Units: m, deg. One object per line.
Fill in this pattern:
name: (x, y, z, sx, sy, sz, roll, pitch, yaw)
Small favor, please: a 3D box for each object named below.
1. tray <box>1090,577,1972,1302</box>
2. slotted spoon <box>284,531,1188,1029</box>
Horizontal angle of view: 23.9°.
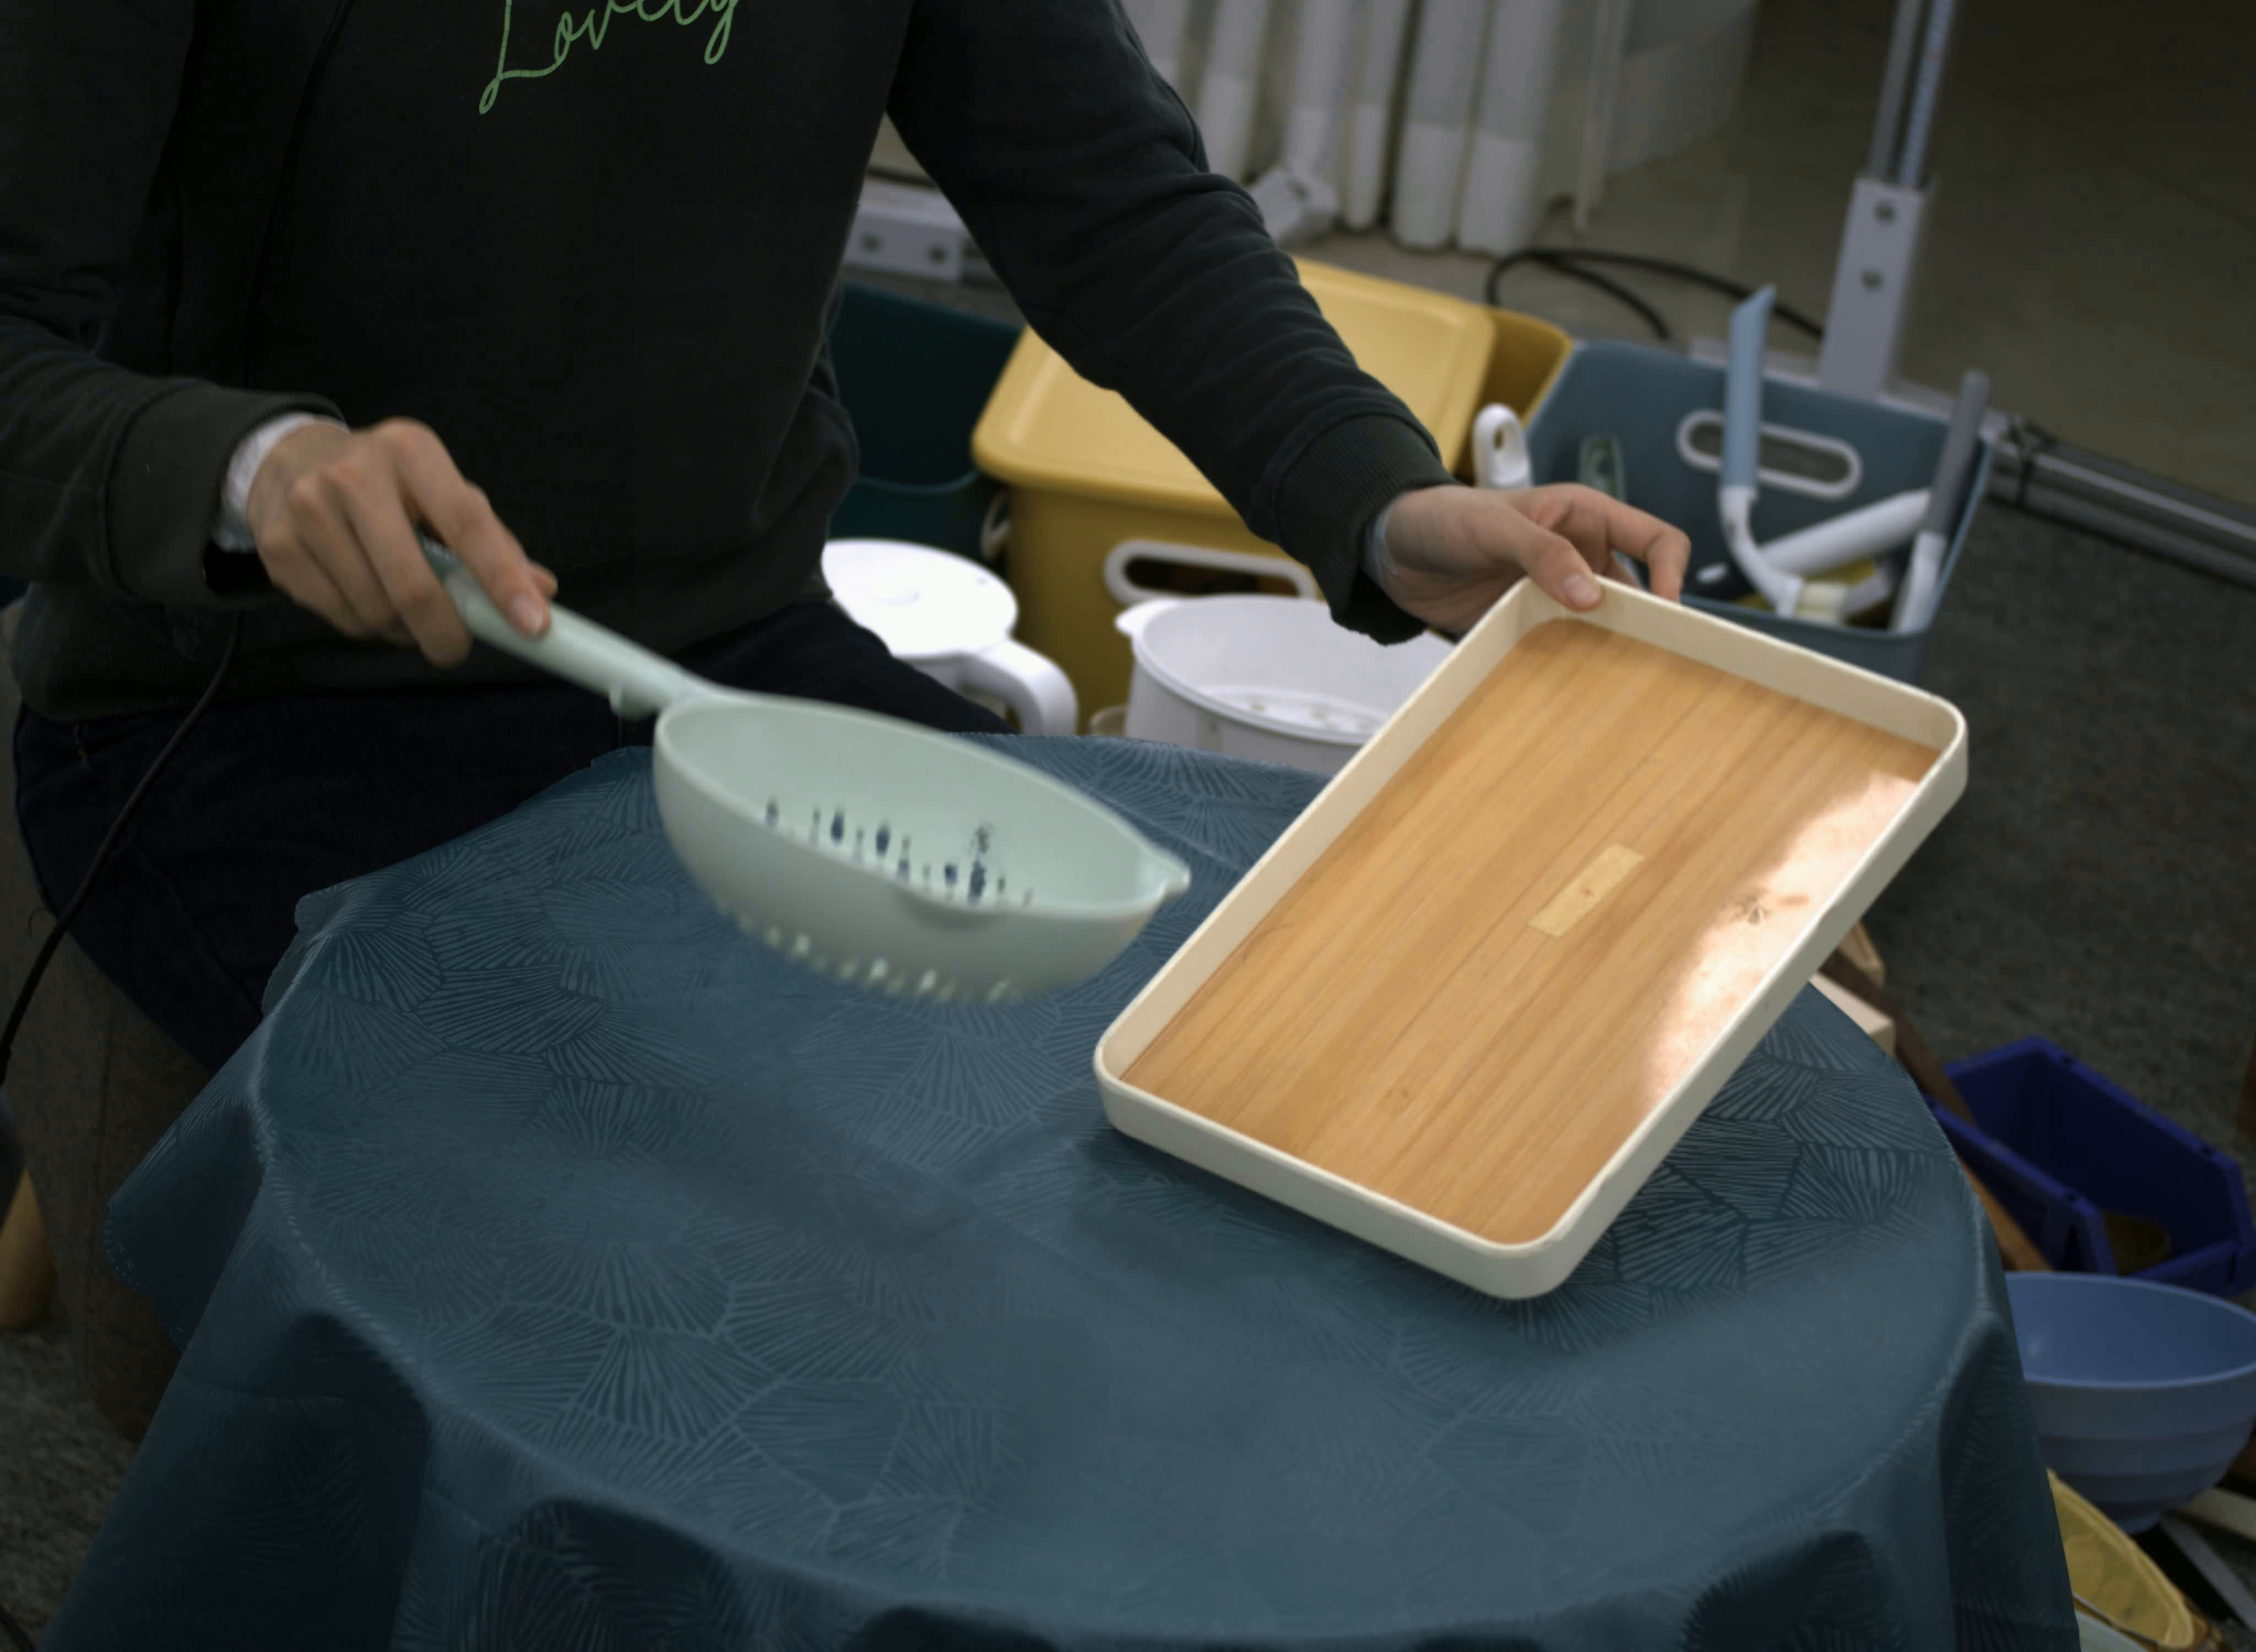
tray: (0.144, 0.033, 1.860, 0.193, 0.027, 0.300, 22, 51, 31)
slotted spoon: (-0.147, -0.029, 1.732, 0.361, 0.075, 0.168, 36, 21, 29)
